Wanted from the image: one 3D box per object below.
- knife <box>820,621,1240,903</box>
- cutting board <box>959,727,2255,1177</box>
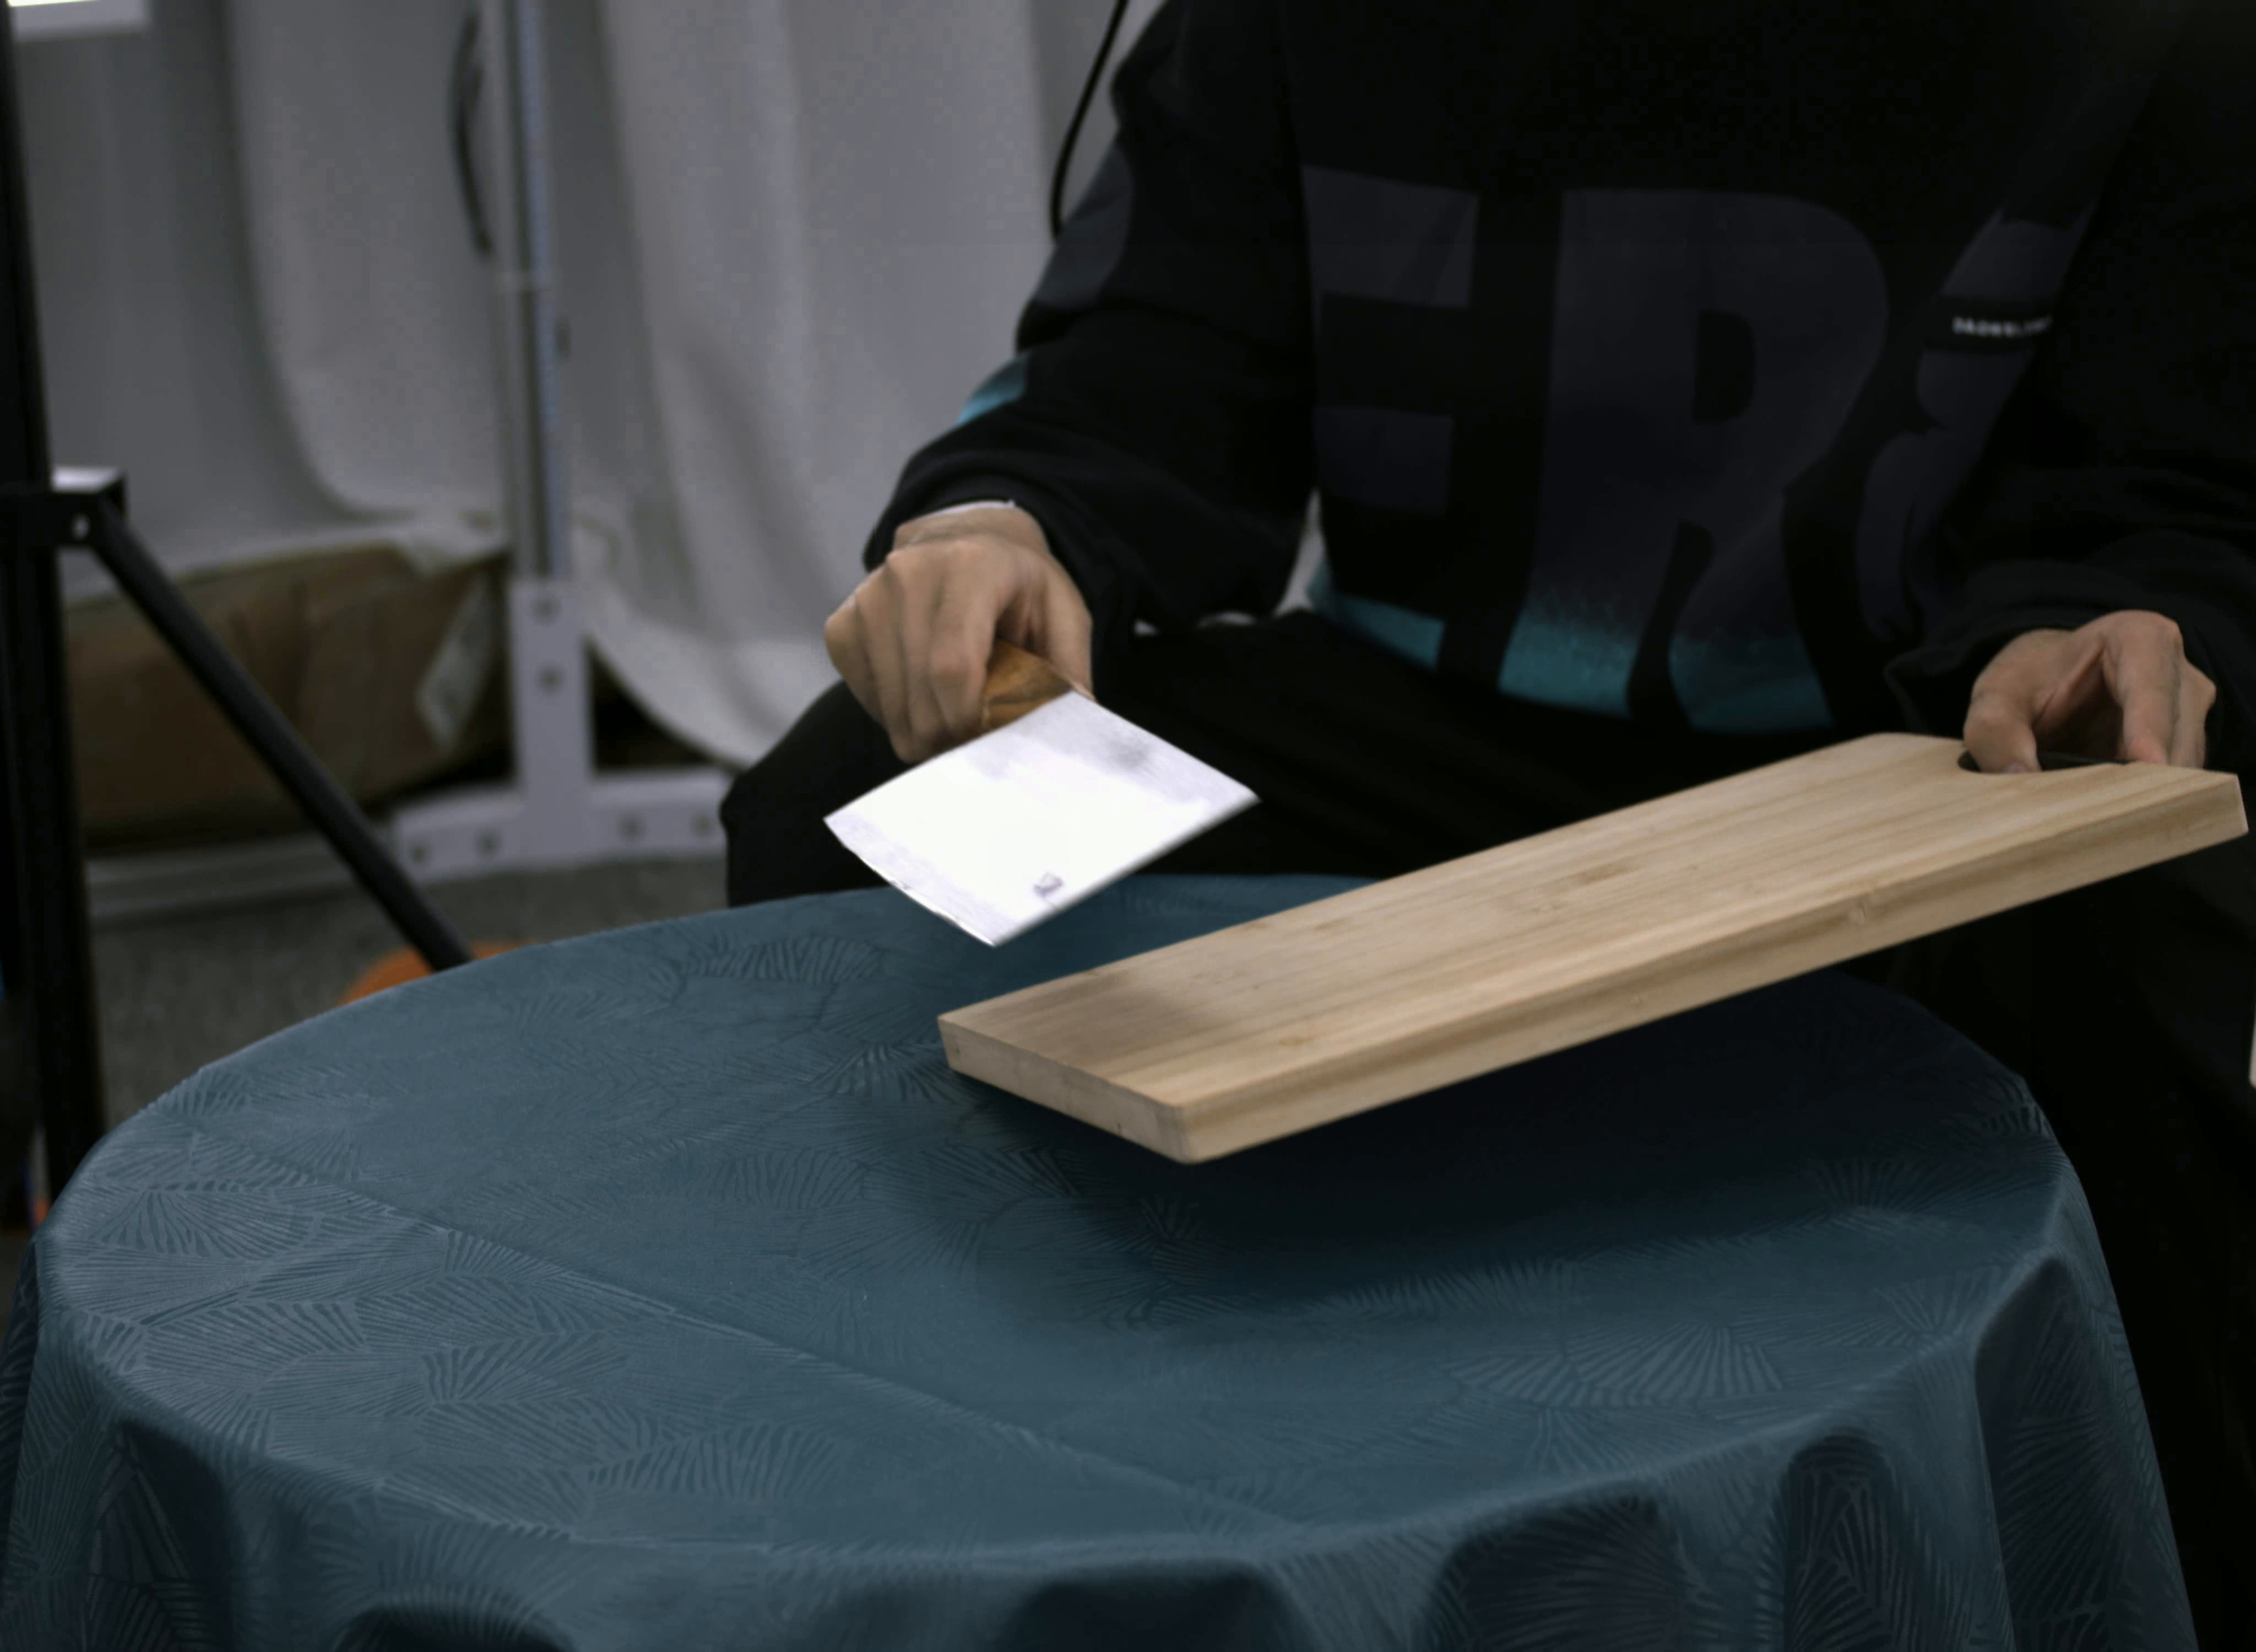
[{"bbox_3d":[-0.048,-0.019,1.650,0.092,0.021,0.310,-30,17,-10],"label":"knife"},{"bbox_3d":[0.139,0.032,1.605,0.343,0.023,0.254,-17,10,-16],"label":"cutting board"}]
